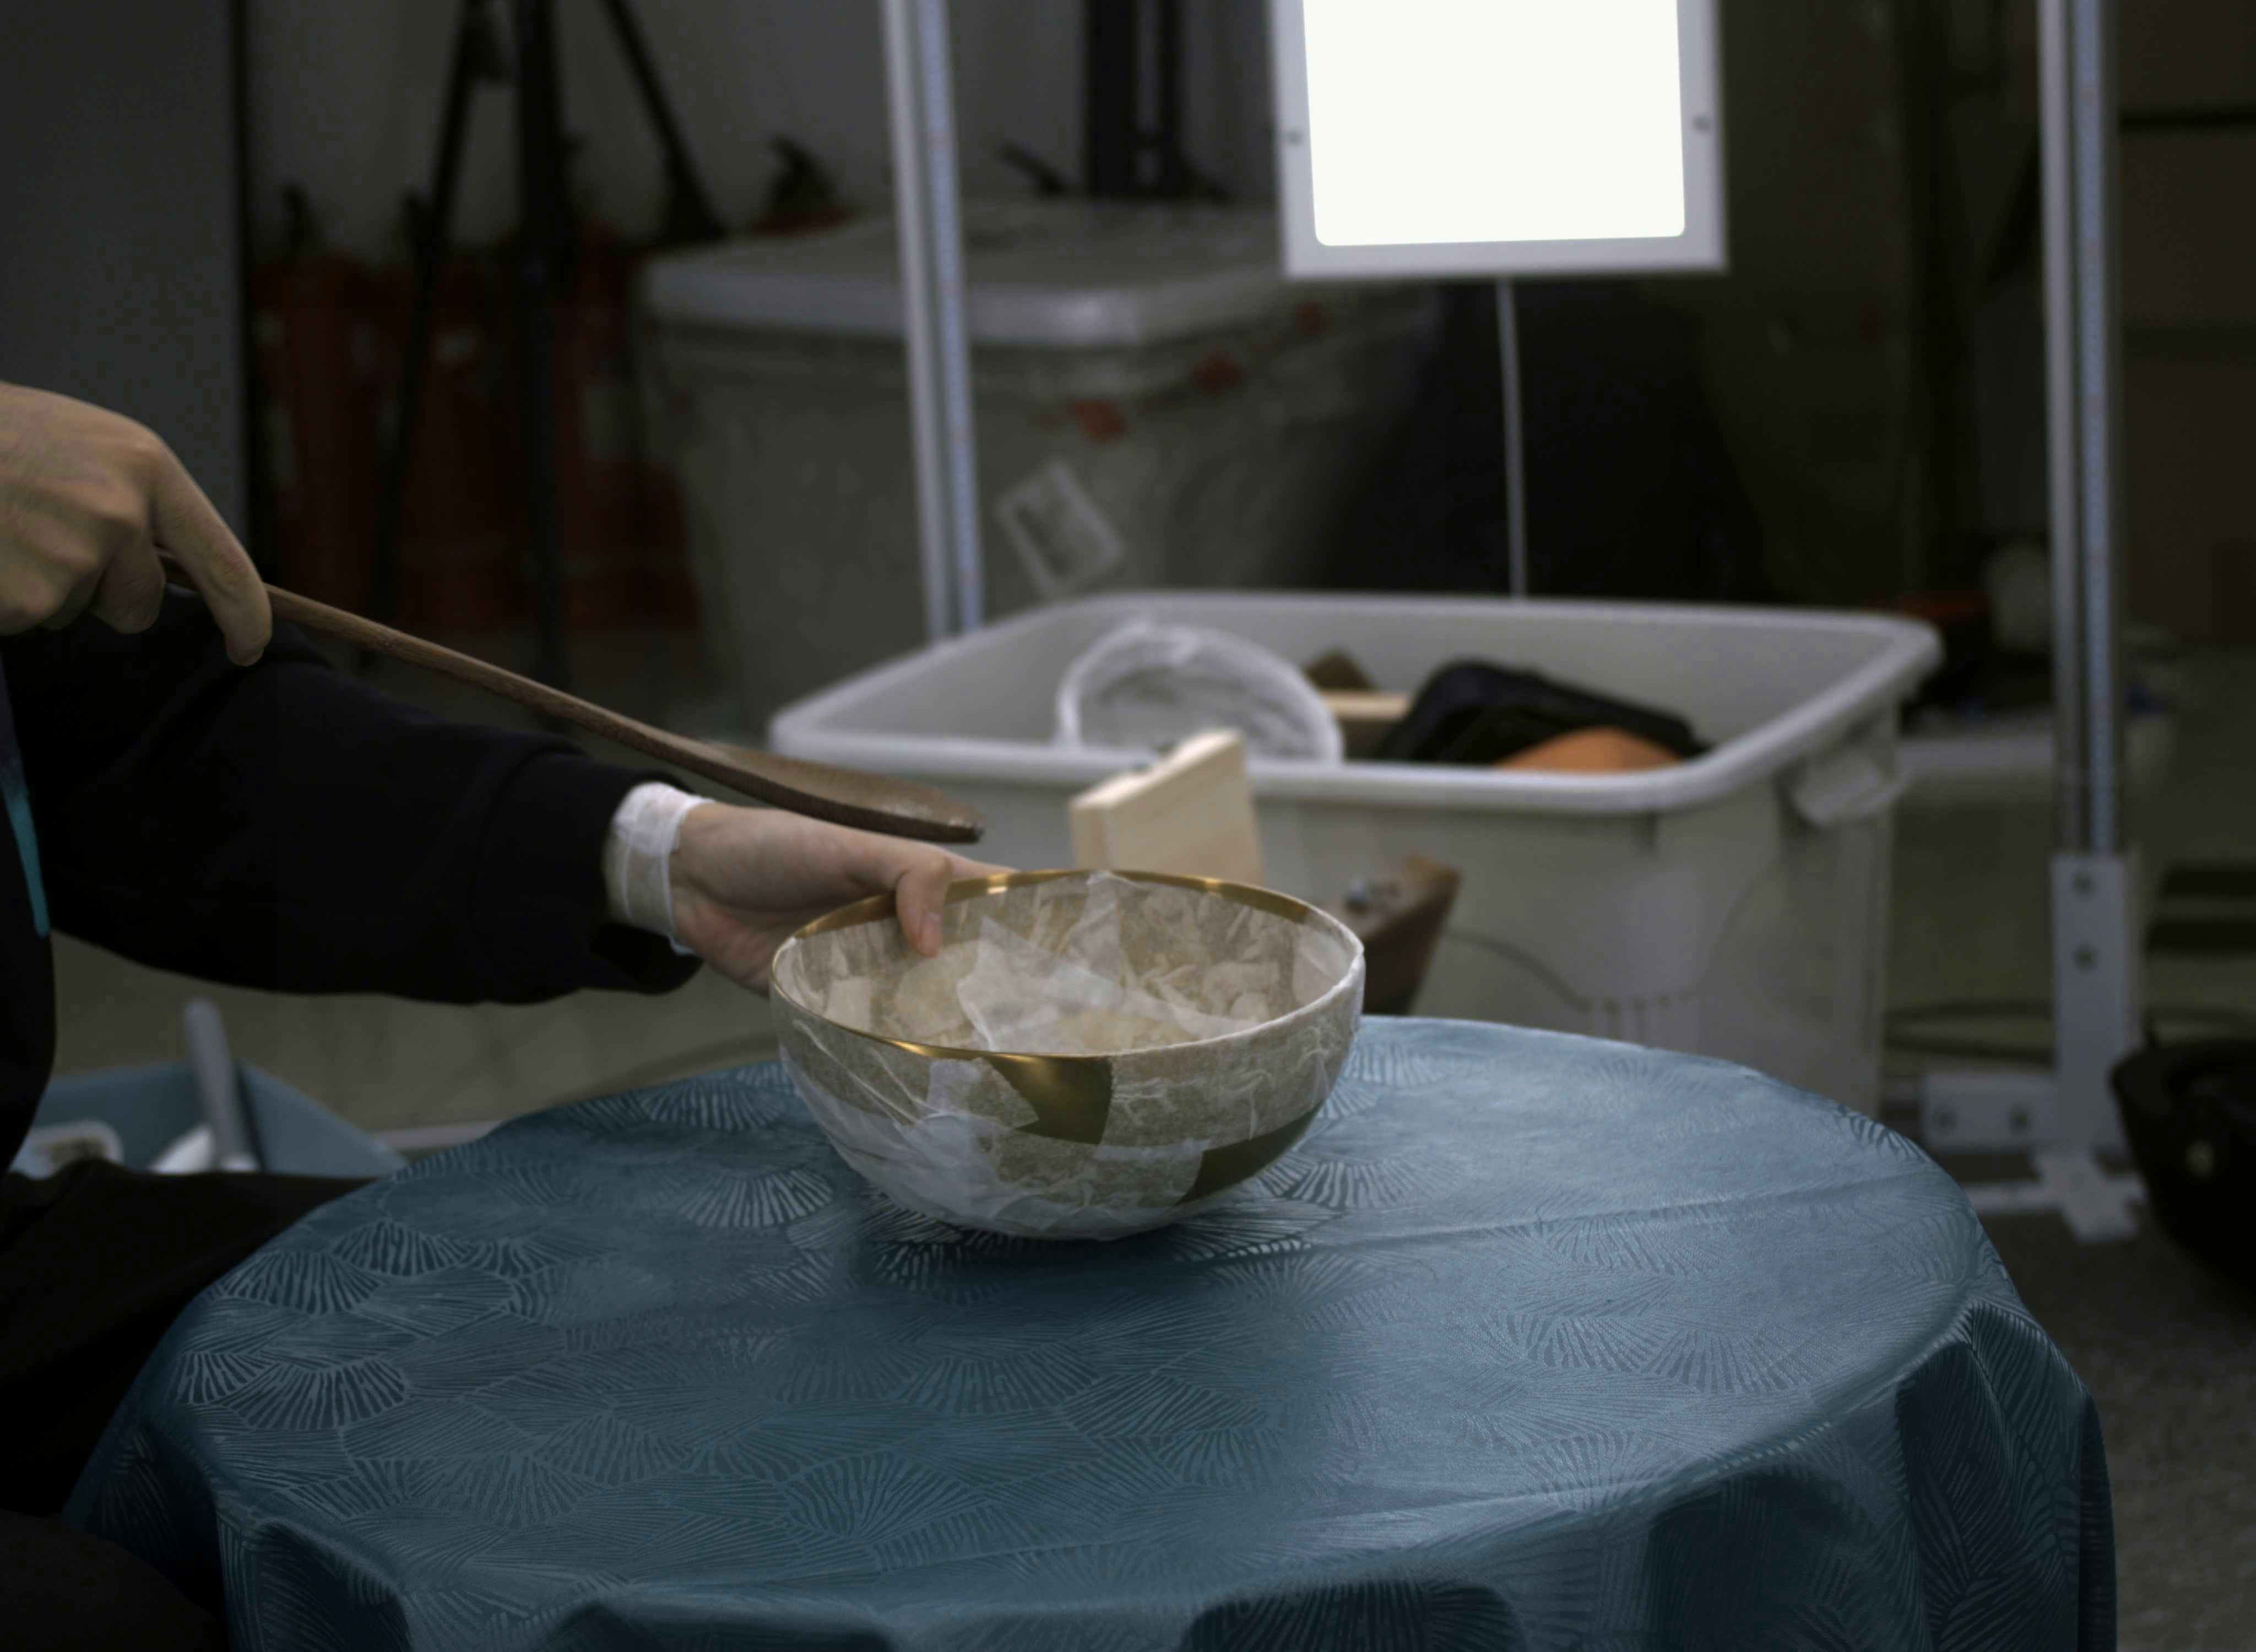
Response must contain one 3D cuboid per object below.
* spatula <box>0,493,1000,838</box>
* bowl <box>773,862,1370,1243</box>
[{"bbox_3d":[-0.221,-0.055,1.734,0.381,0.016,0.097,18,6,-14],"label":"spatula"},{"bbox_3d":[-0.020,0.085,1.872,0.214,0.095,0.214,-4,17,0],"label":"bowl"}]
